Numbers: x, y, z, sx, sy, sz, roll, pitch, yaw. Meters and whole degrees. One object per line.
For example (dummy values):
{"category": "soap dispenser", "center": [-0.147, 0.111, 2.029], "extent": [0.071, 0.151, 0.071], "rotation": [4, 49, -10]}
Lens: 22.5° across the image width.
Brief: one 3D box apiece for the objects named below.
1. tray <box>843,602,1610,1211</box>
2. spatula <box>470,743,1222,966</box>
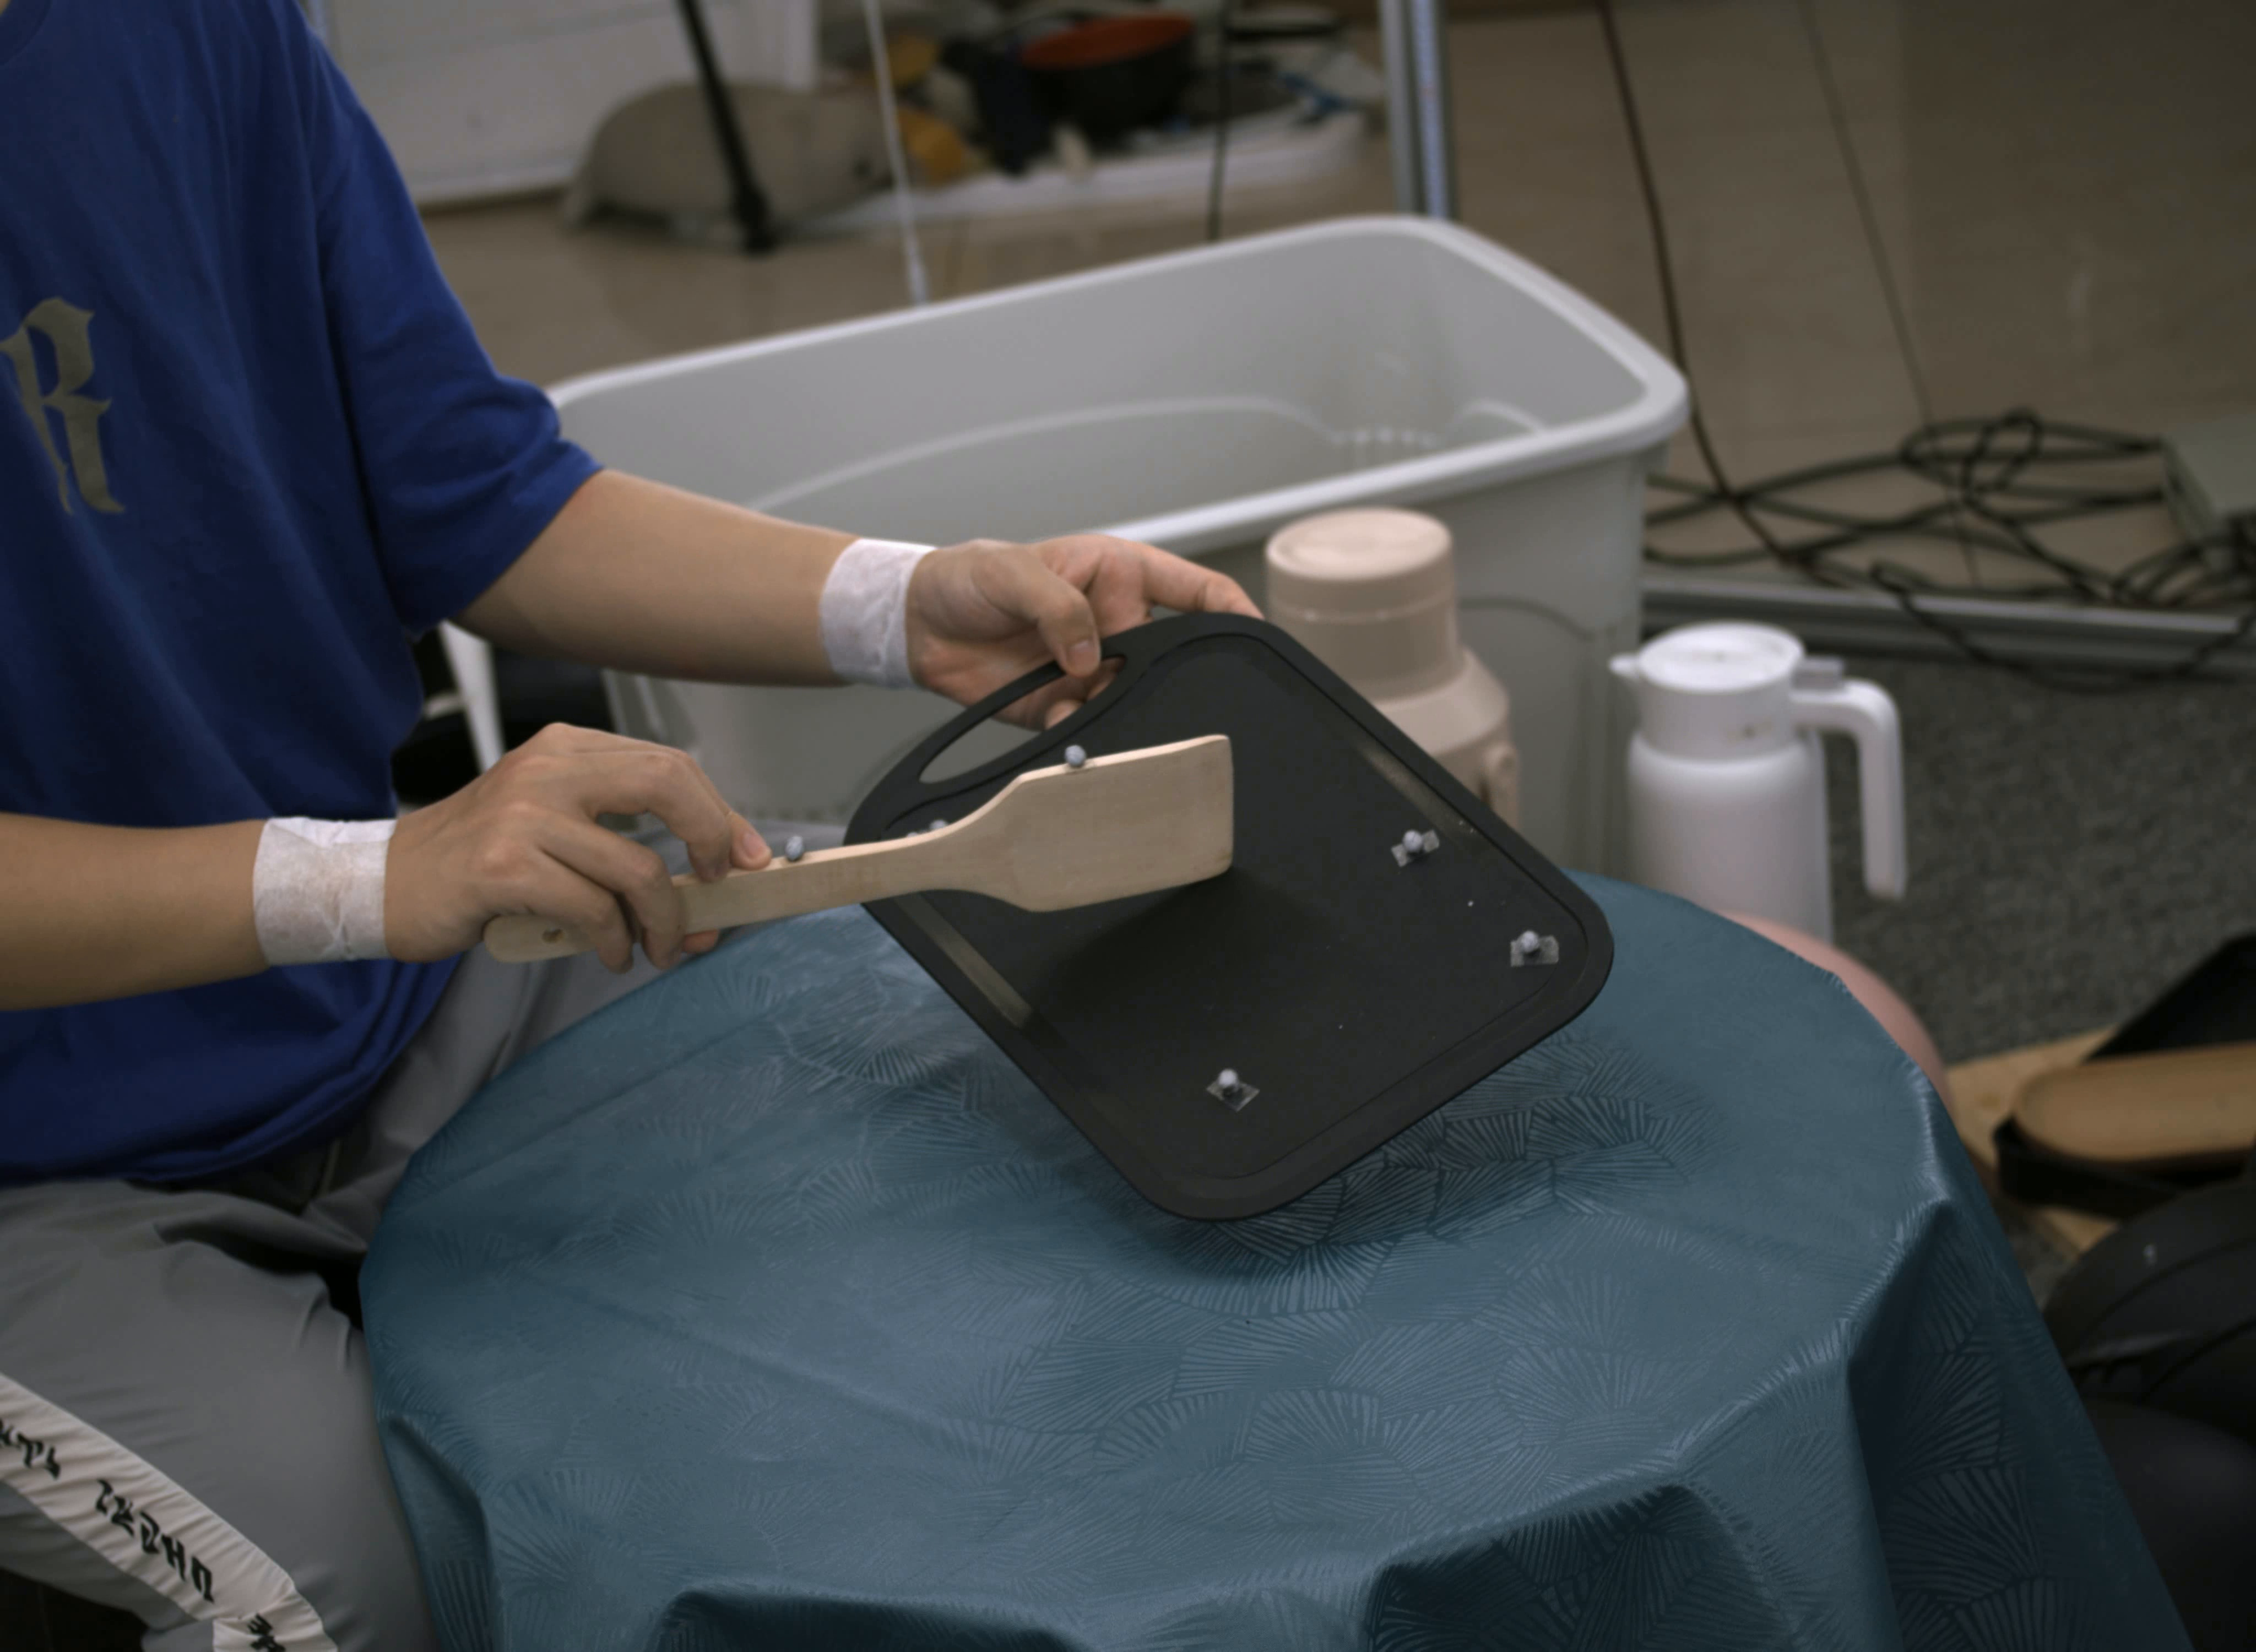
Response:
{"category": "tray", "center": [0.028, 0.021, 2.198], "extent": [0.210, 0.010, 0.321], "rotation": [-32, 45, -13]}
{"category": "spatula", "center": [-0.105, 0.018, 2.151], "extent": [0.292, 0.074, 0.010], "rotation": [-10, 44, -9]}
